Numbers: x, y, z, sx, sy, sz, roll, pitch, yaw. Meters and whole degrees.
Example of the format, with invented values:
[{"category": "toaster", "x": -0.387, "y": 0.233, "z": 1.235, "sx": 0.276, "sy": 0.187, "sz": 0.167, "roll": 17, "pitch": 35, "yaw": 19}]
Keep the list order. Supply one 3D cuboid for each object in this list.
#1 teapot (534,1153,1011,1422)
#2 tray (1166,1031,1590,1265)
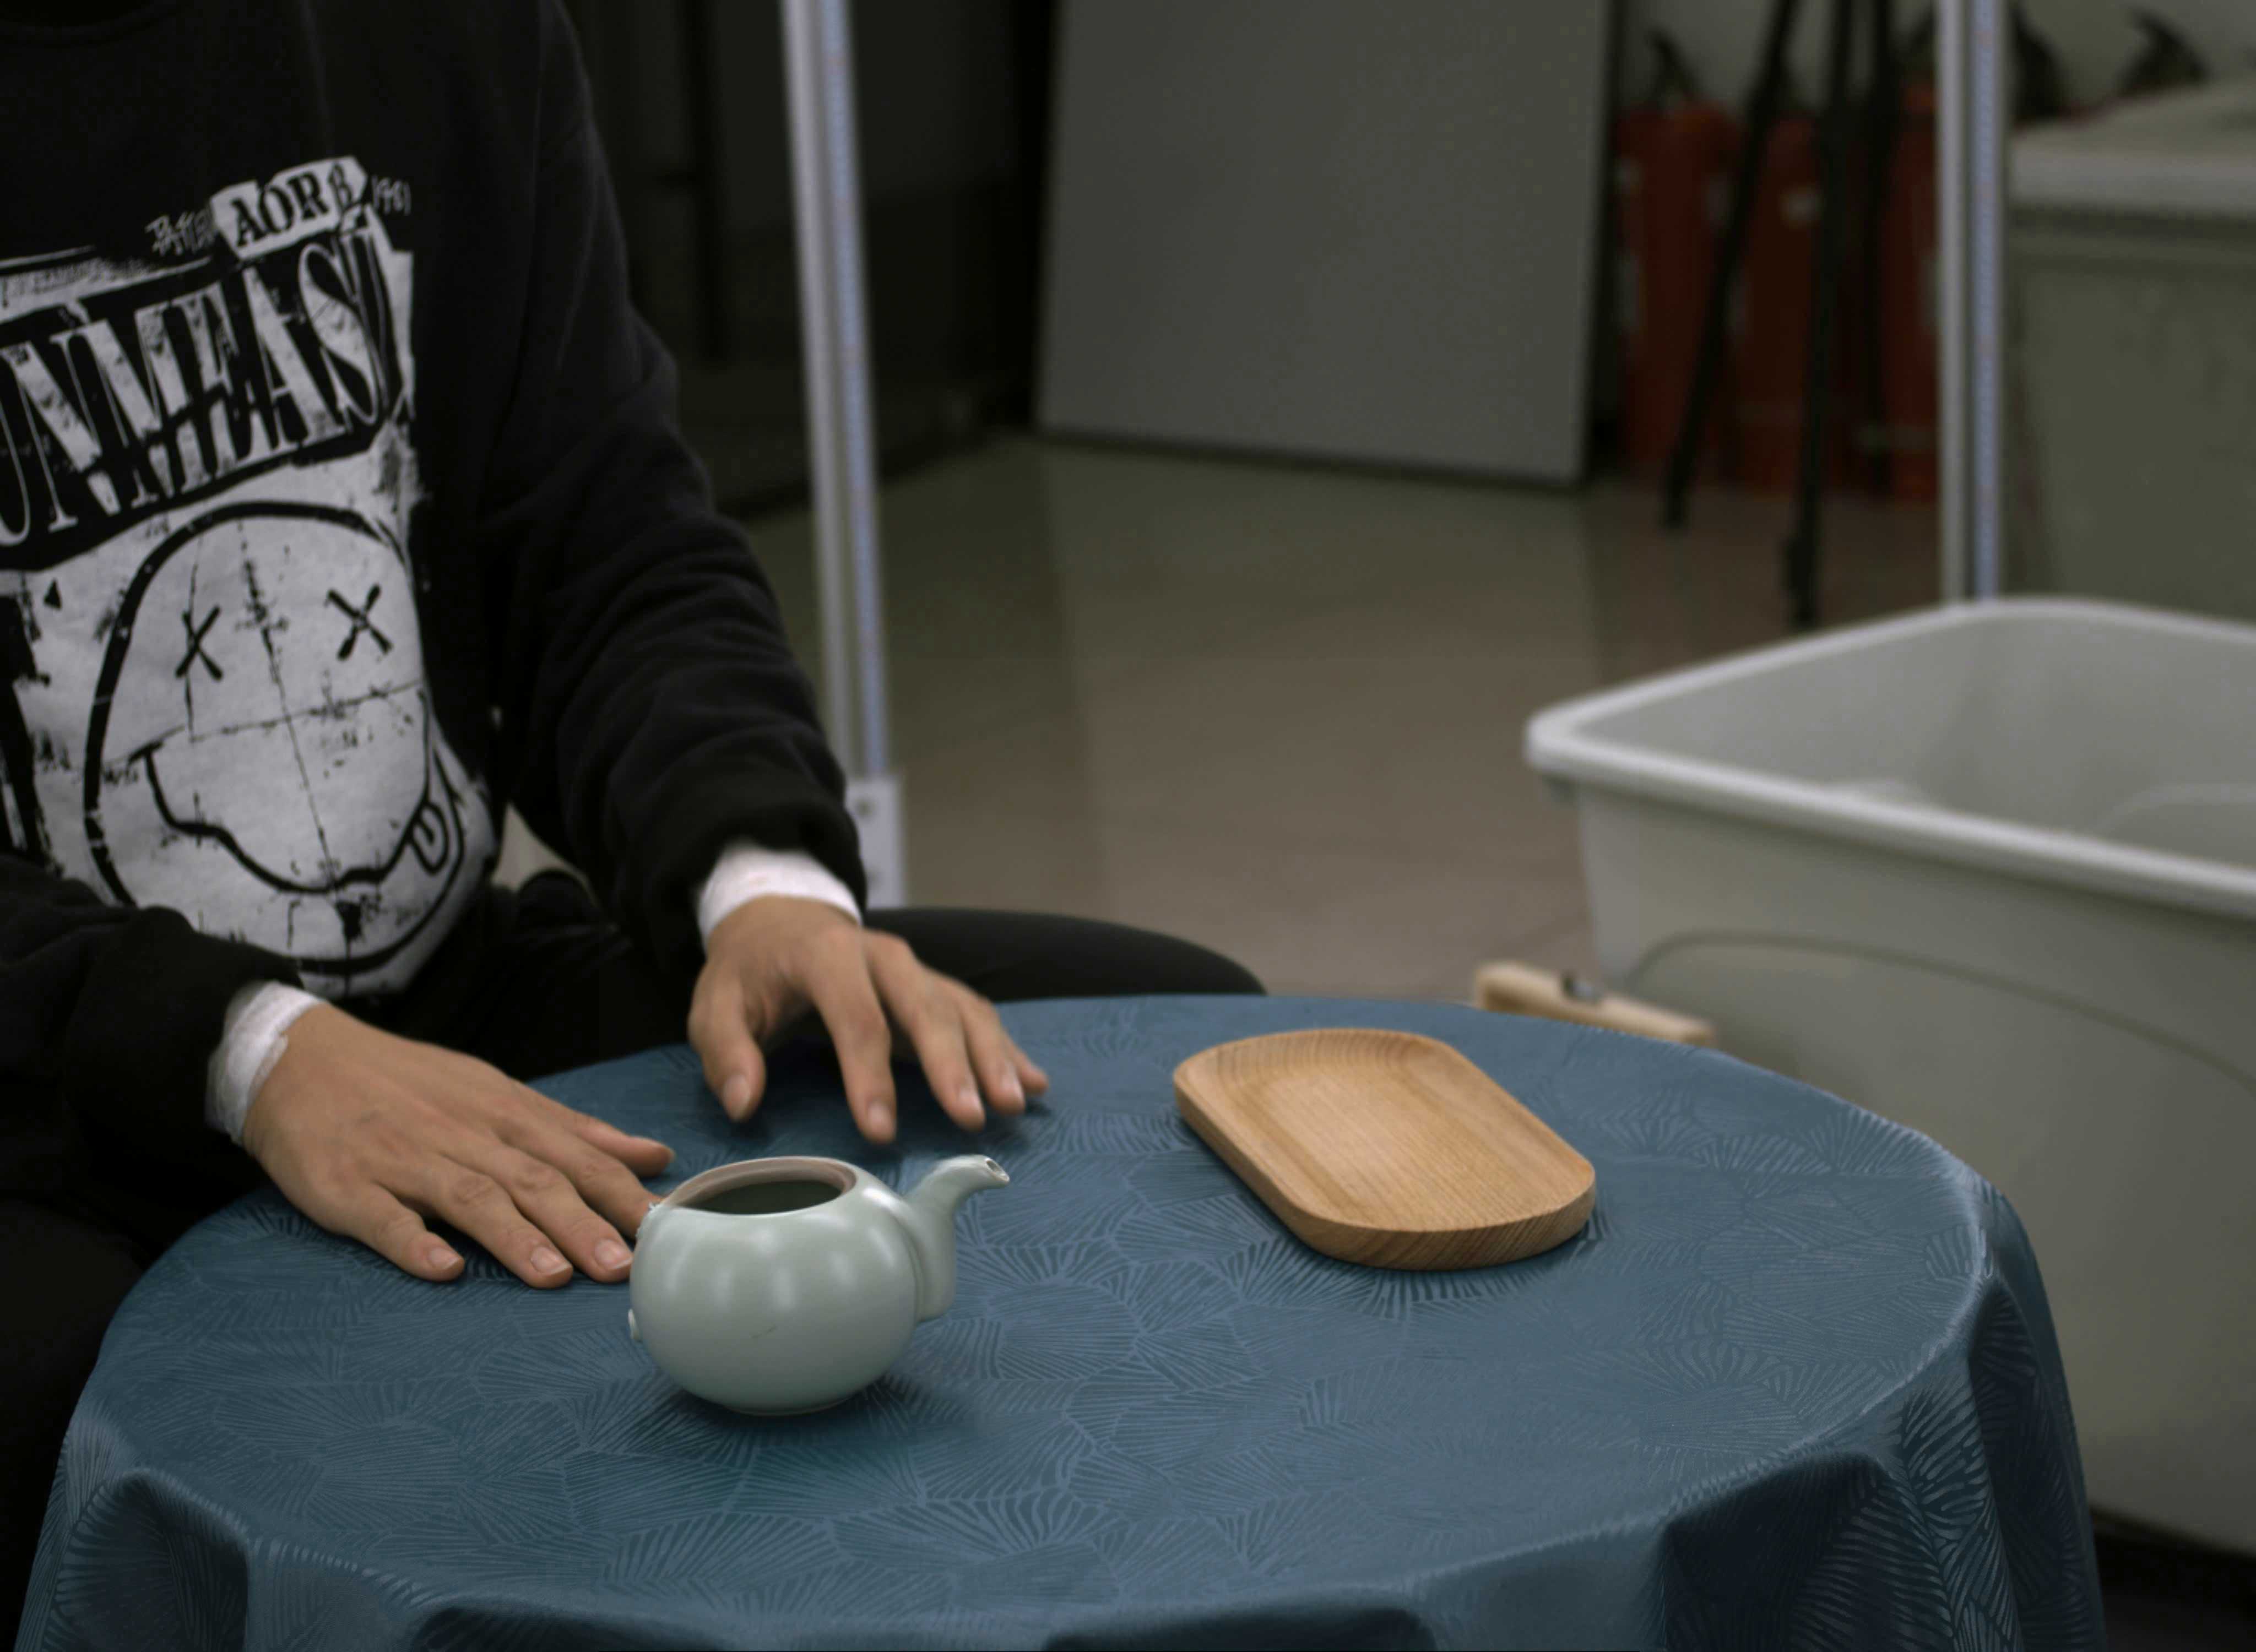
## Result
[{"category": "teapot", "x": -0.104, "y": 0.135, "z": 1.600, "sx": 0.142, "sy": 0.075, "sz": 0.088, "roll": -1, "pitch": 13, "yaw": 6}, {"category": "tray", "x": 0.081, "y": 0.105, "z": 1.783, "sx": 0.100, "sy": 0.020, "sz": 0.233, "roll": -6, "pitch": 12, "yaw": -14}]
